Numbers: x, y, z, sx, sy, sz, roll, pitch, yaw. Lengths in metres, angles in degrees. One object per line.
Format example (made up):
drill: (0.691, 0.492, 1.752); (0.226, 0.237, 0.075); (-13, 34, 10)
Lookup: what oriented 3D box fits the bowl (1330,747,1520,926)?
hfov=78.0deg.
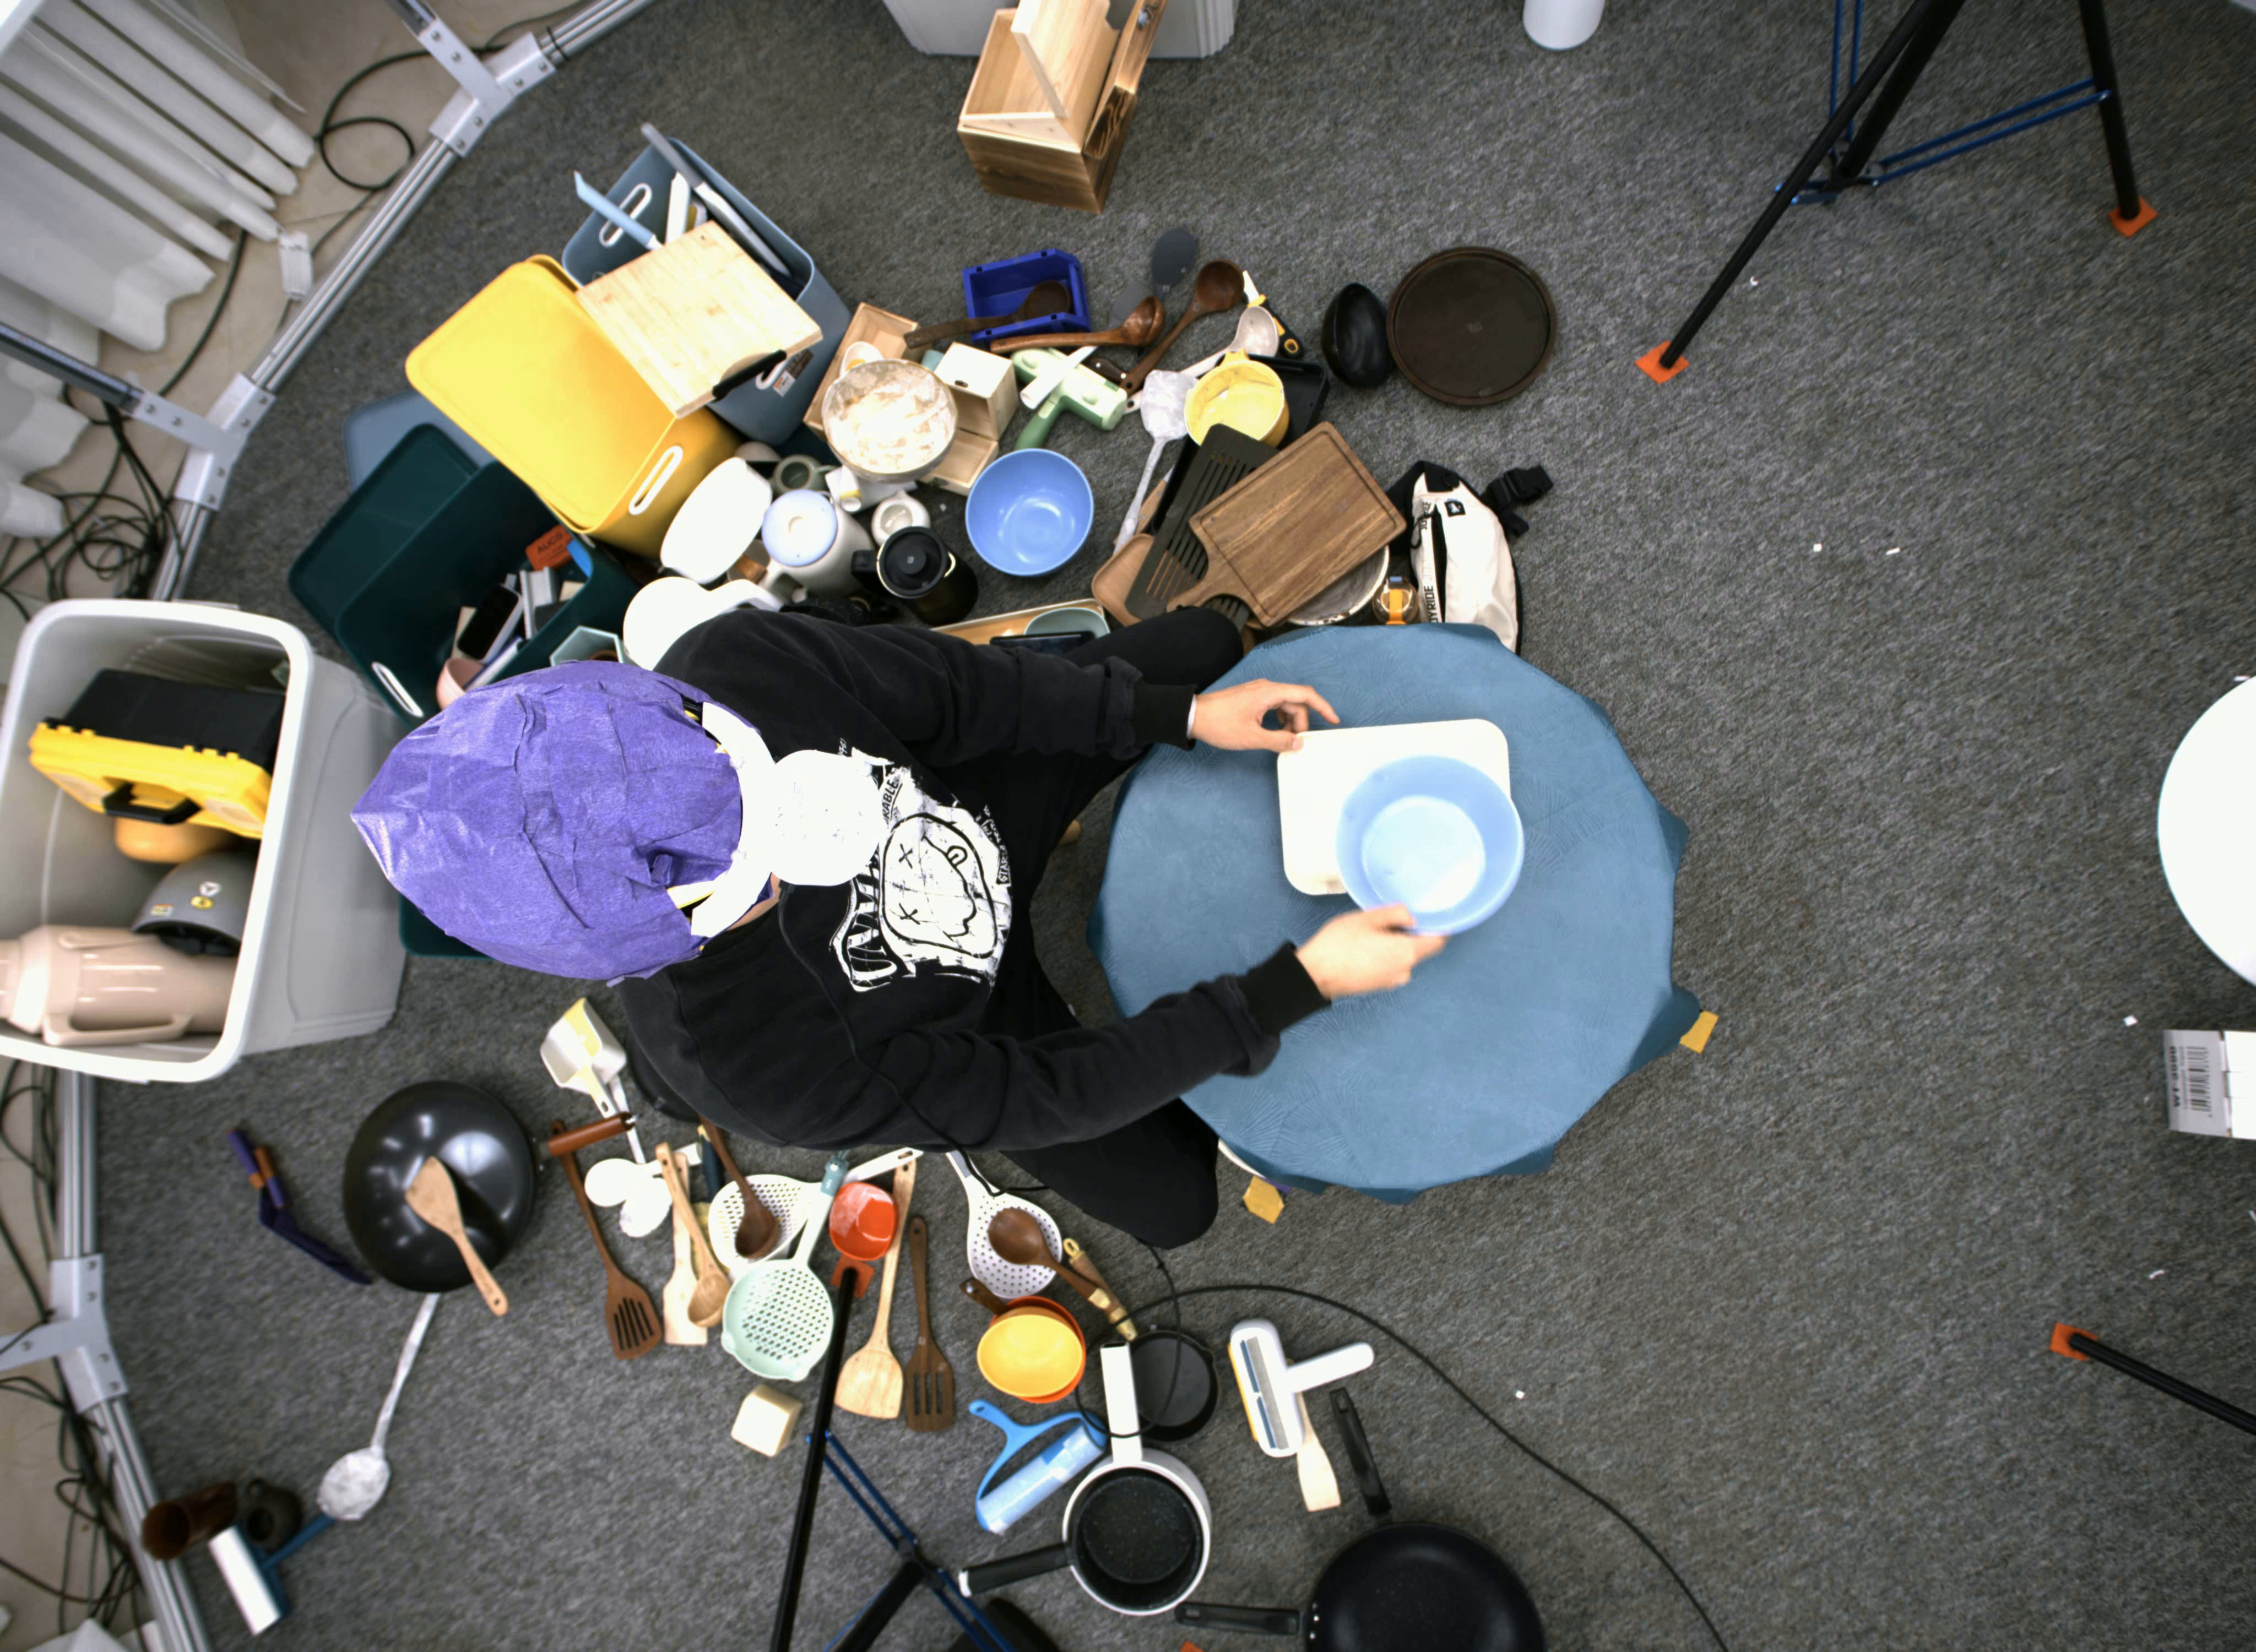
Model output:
bowl: (0.281, 0.016, 1.315); (0.177, 0.071, 0.173); (-3, 75, 9)

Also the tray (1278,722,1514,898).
tray: (0.279, -0.018, 1.437); (0.240, 0.017, 0.171); (-5, 93, 2)
